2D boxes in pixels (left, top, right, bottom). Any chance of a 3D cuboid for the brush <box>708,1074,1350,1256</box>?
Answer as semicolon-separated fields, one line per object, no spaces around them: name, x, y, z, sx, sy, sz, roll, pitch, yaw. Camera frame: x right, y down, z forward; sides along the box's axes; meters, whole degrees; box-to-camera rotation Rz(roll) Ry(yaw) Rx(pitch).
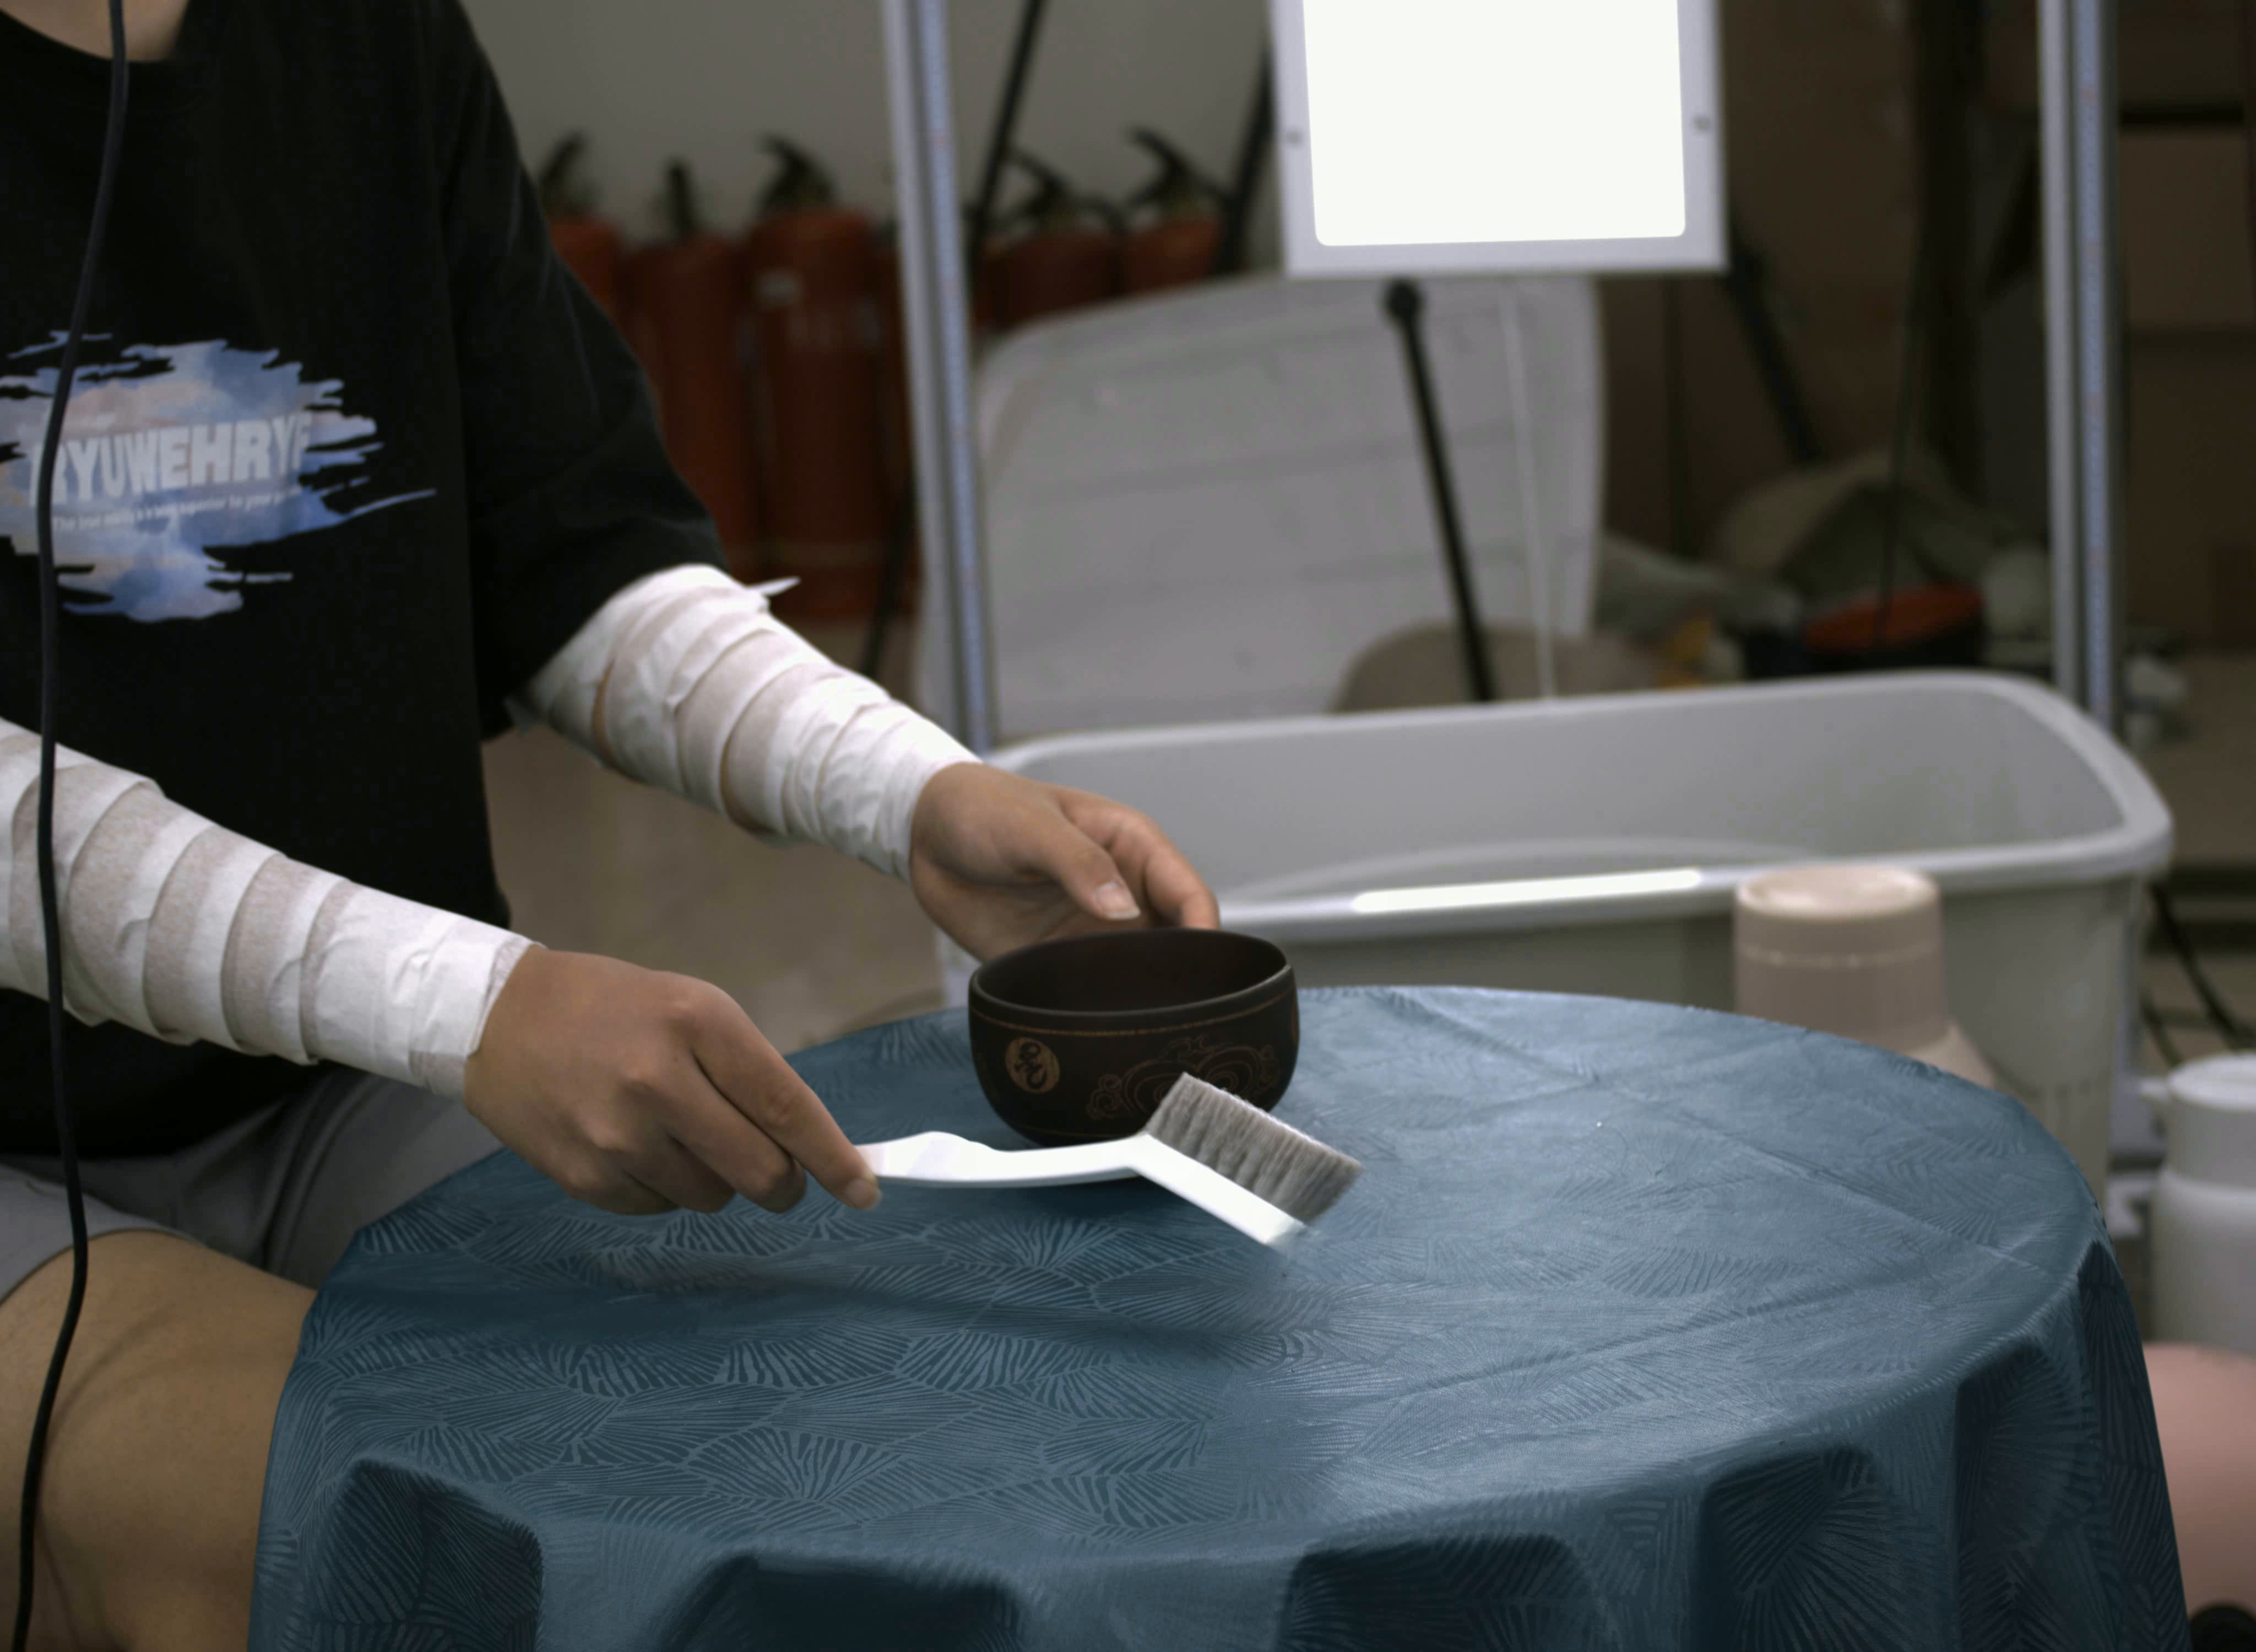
brush;-0.036;0.098;1.793;0.248;0.050;0.033;8;-9;37

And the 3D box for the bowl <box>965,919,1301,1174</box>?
bowl;0.004;0.081;1.930;0.118;0.070;0.118;-7;13;0
